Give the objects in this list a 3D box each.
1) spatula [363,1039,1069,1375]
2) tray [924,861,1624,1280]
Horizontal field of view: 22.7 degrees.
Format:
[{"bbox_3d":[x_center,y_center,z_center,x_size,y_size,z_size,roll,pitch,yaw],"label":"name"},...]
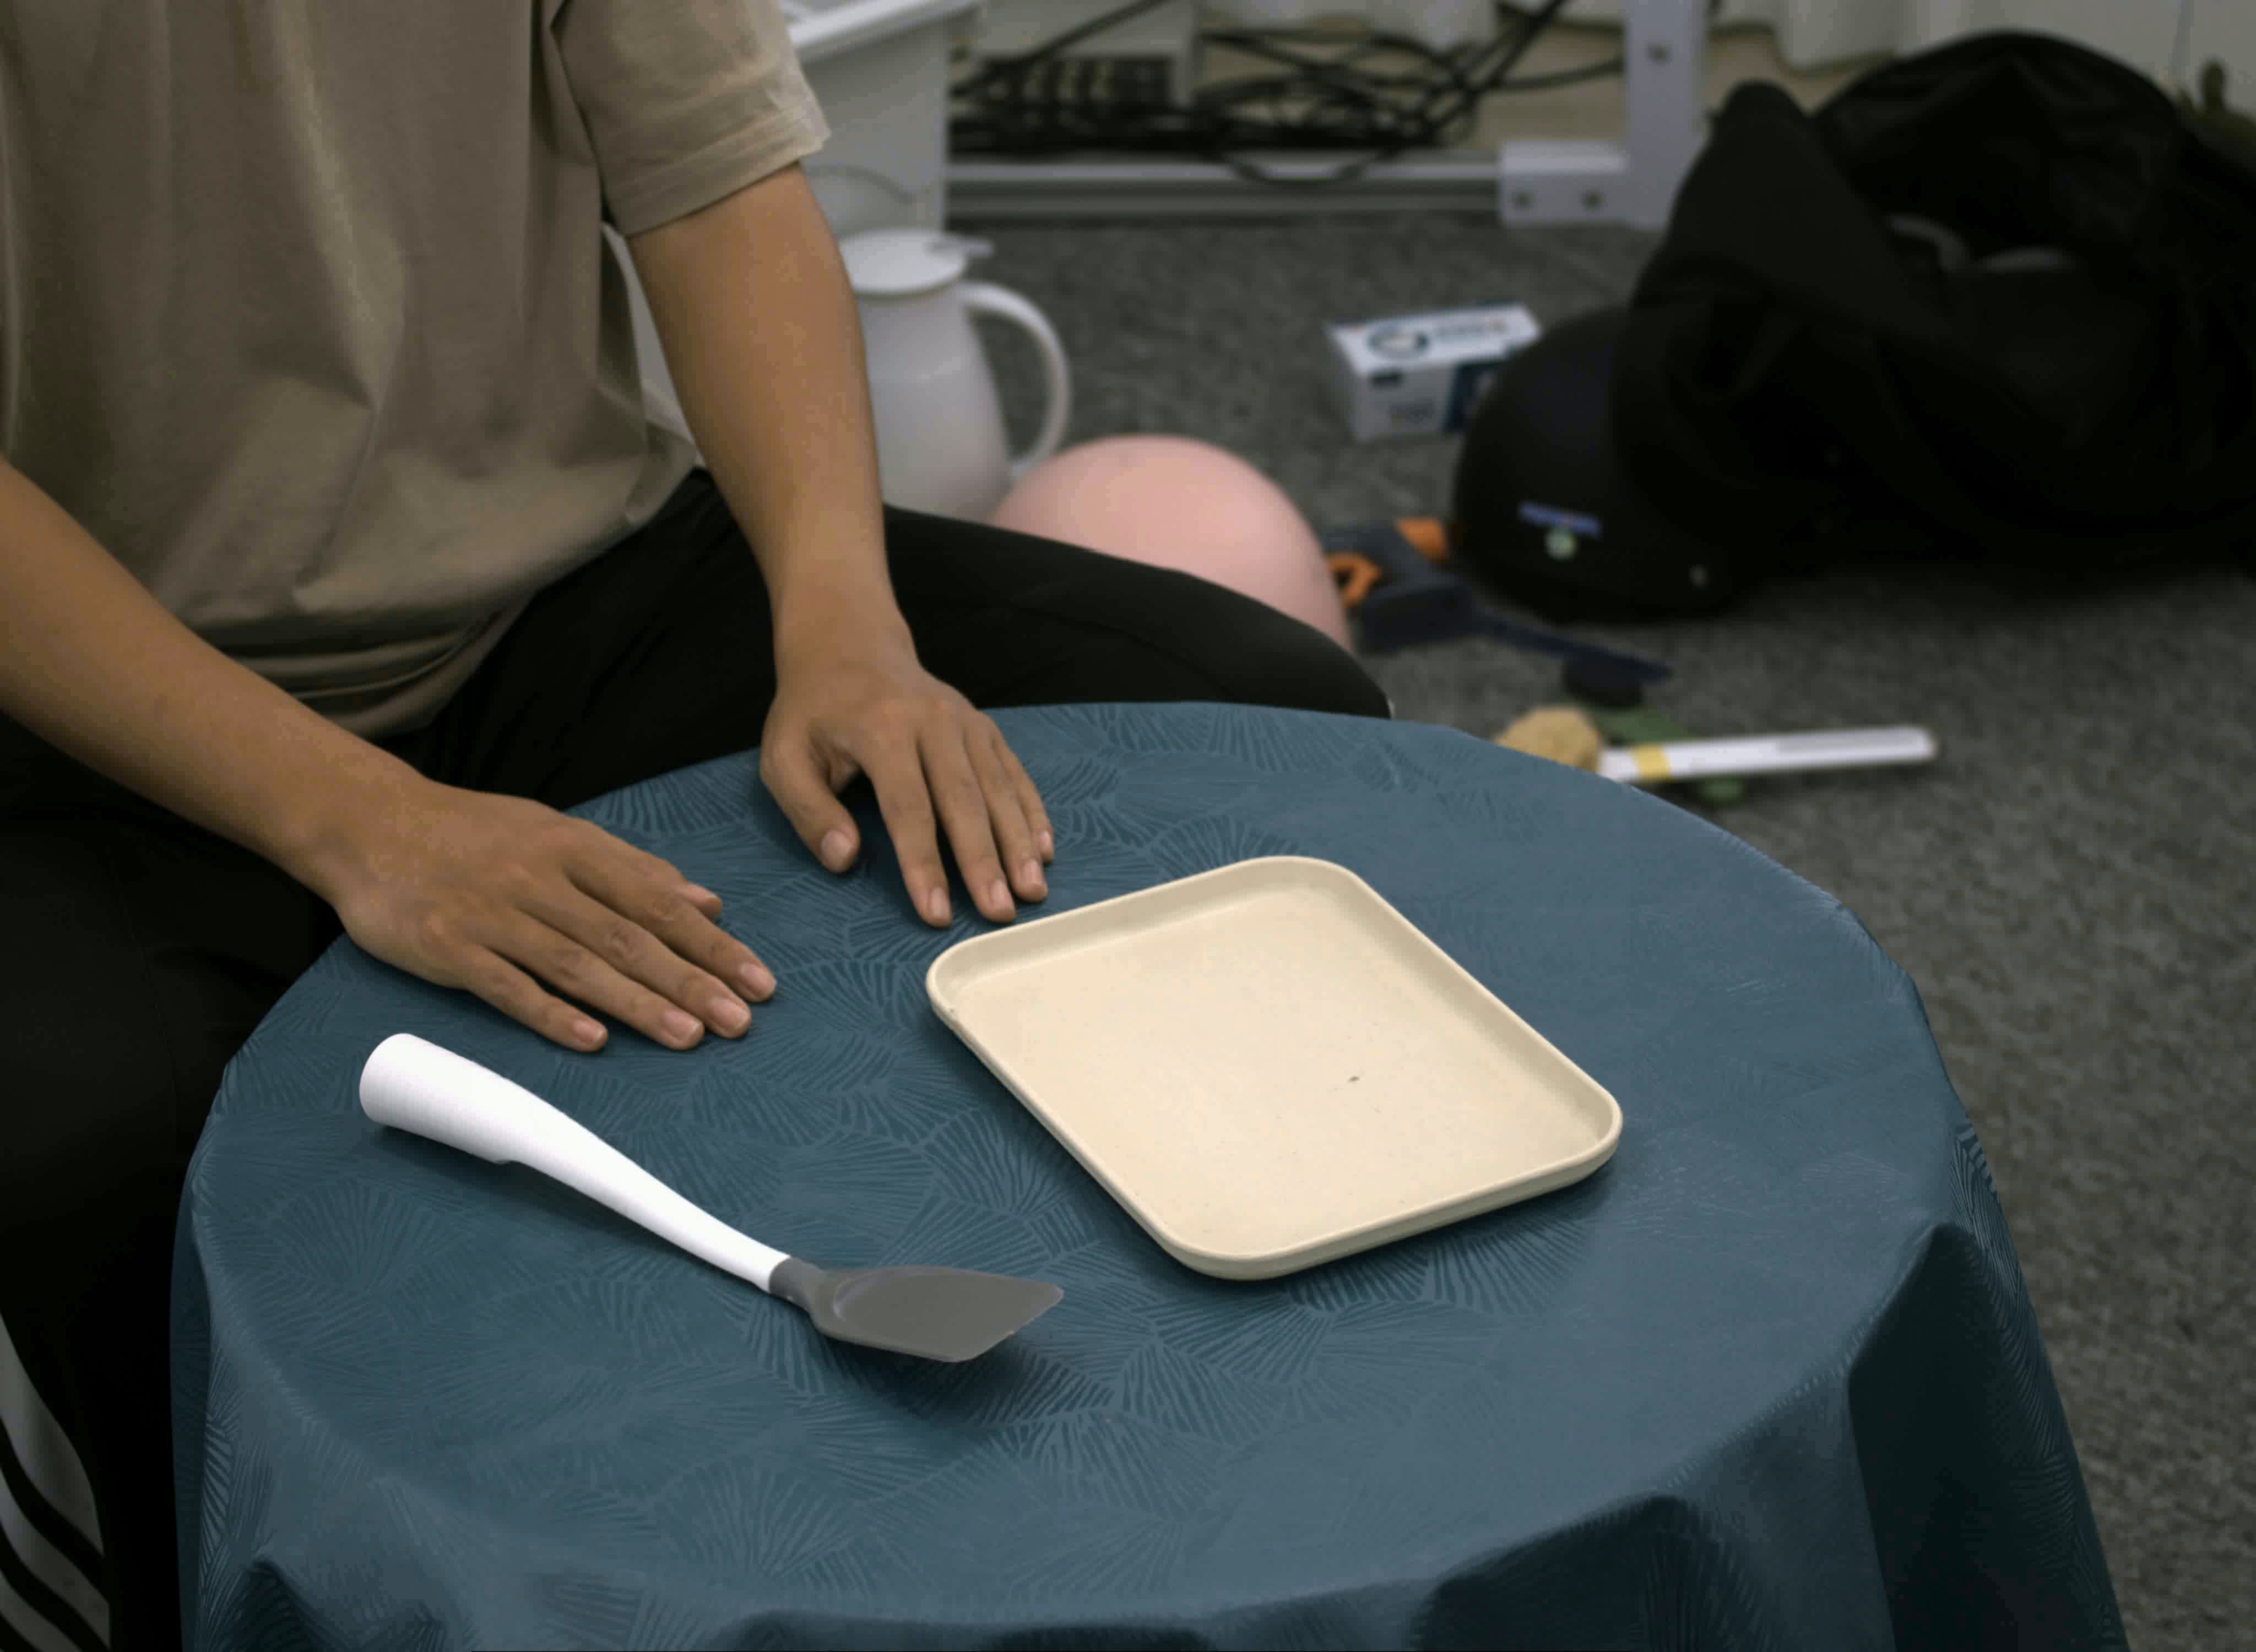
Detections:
[{"bbox_3d":[-0.140,0.127,1.827,0.287,0.032,0.059,20,31,36],"label":"spatula"},{"bbox_3d":[0.047,0.082,1.916,0.172,0.017,0.241,-14,30,-23],"label":"tray"}]
